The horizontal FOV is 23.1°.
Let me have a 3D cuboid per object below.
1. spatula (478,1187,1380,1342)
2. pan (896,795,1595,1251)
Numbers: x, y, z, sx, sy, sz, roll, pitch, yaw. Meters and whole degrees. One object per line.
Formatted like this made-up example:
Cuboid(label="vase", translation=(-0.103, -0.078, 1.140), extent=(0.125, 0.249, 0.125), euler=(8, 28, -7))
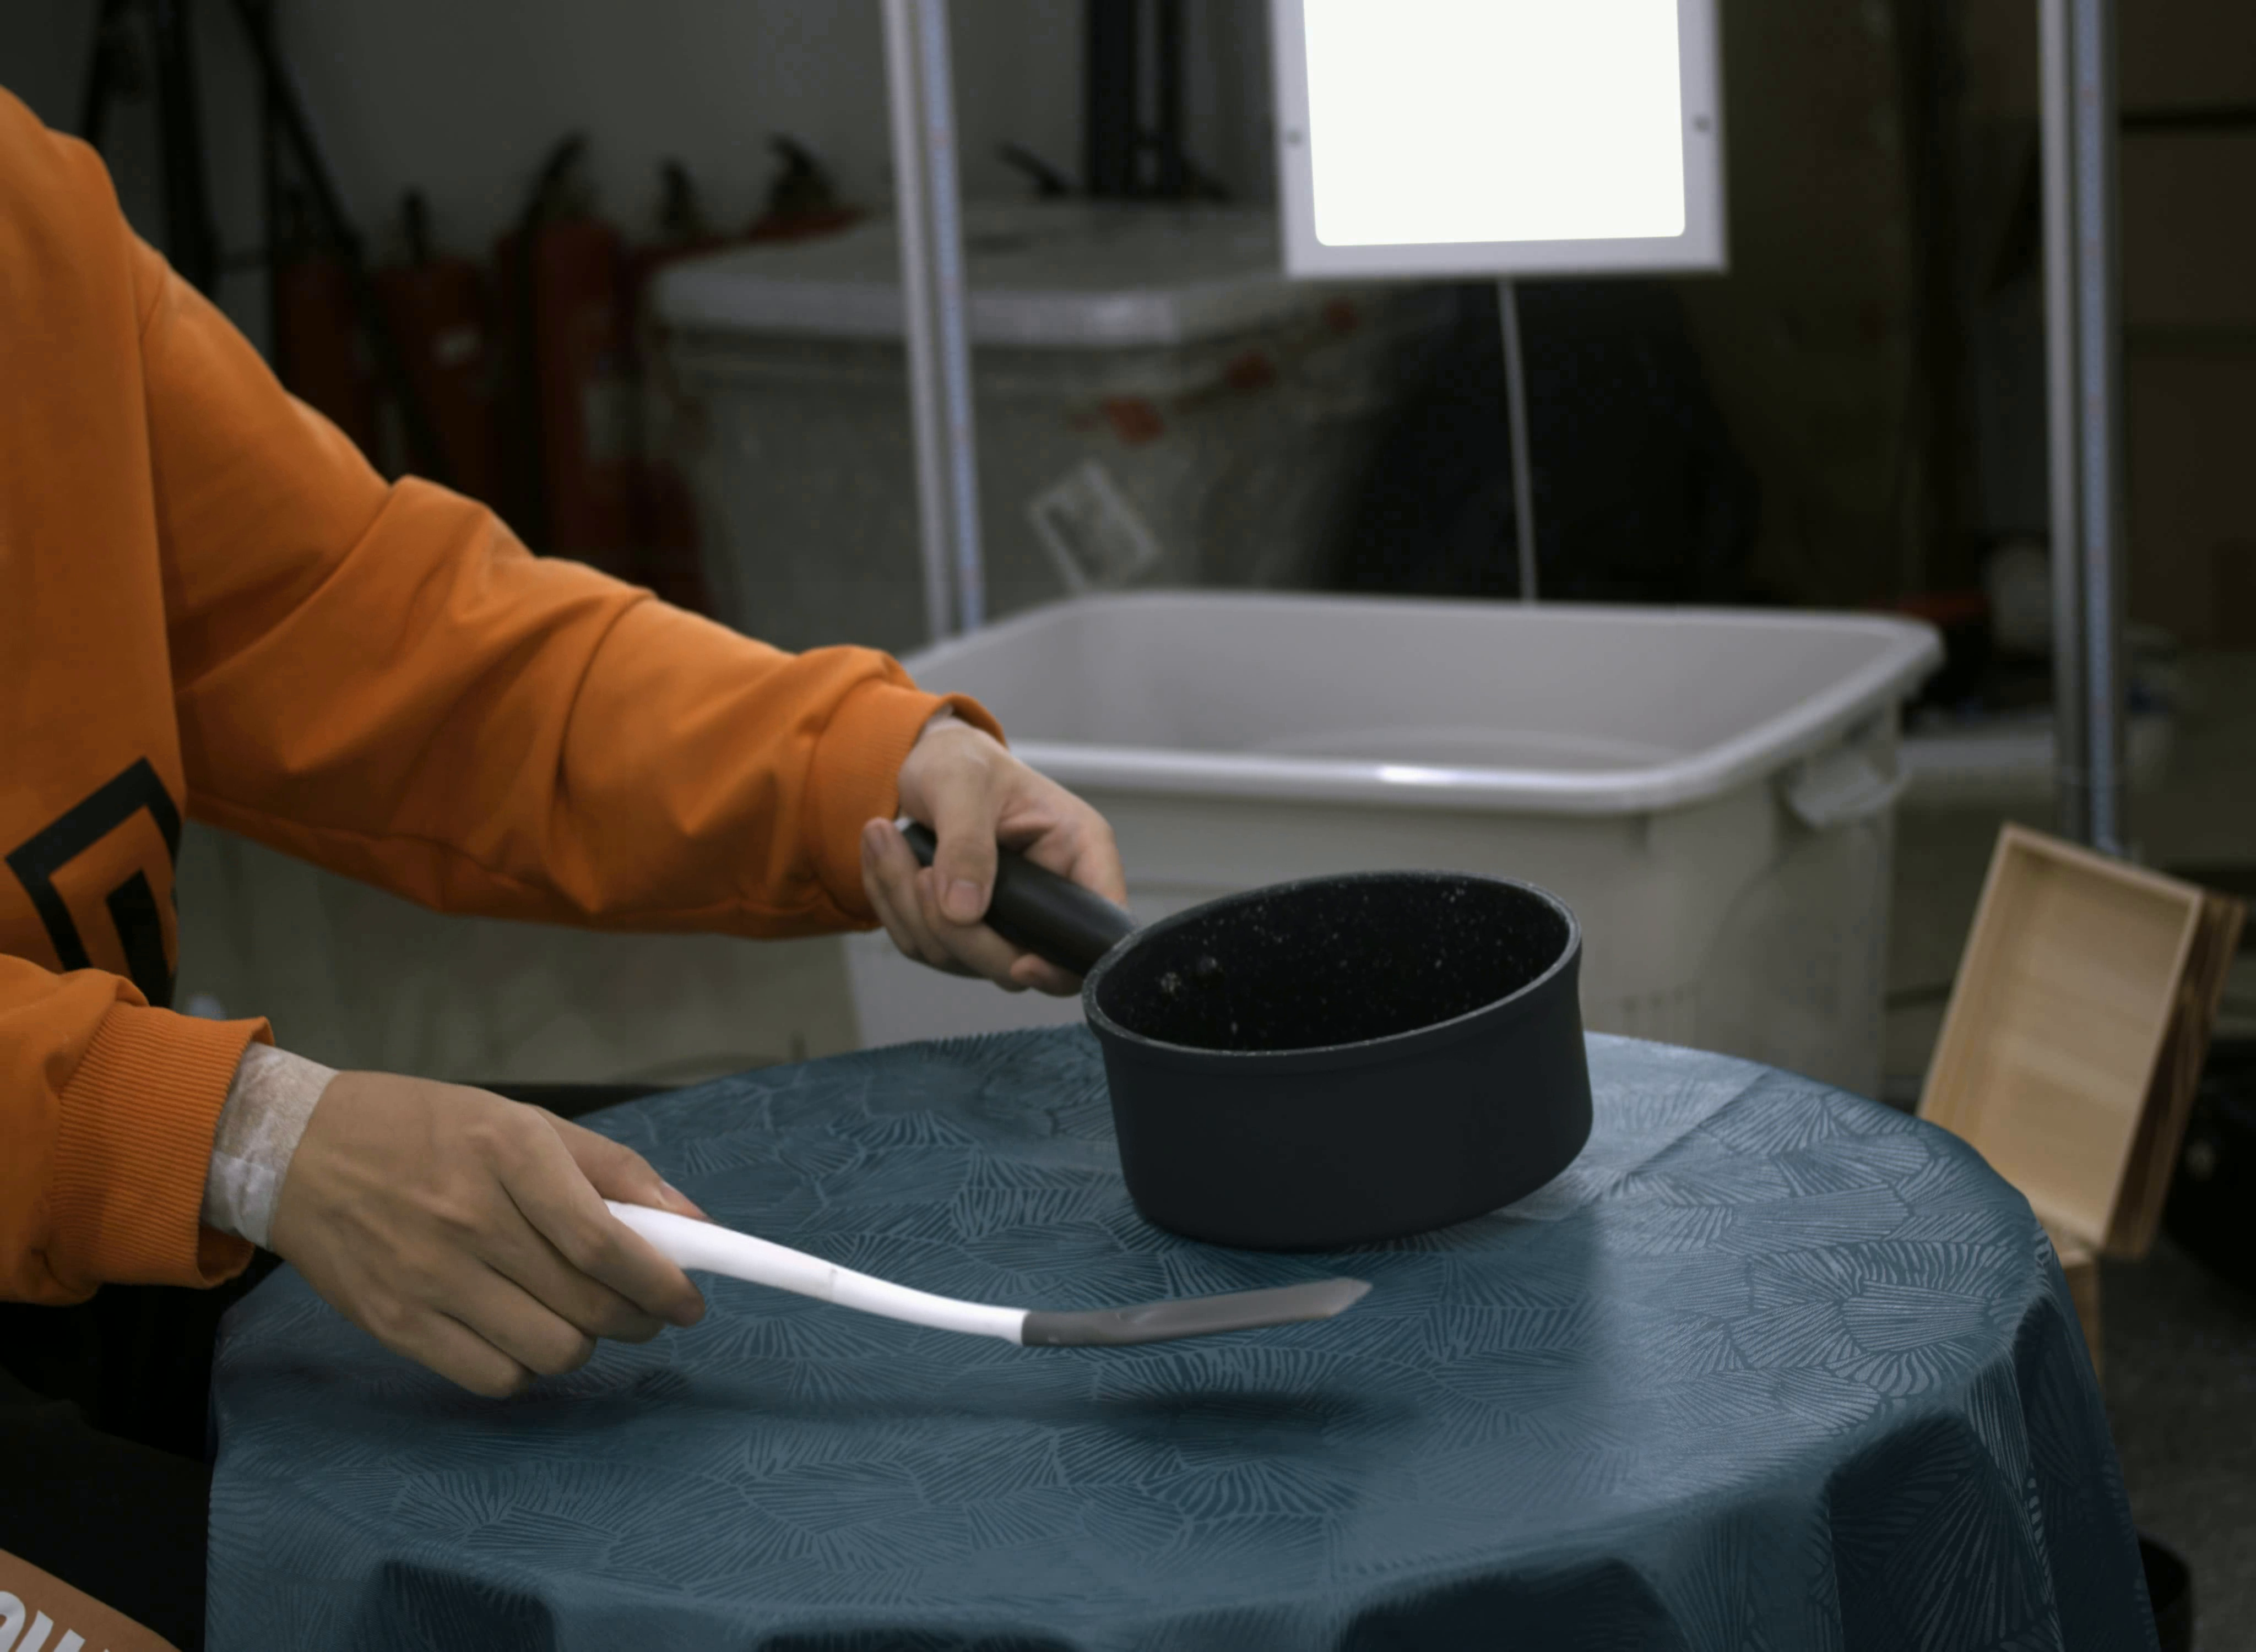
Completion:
Cuboid(label="spatula", translation=(-0.064, 0.139, 1.703), extent=(0.291, 0.032, 0.058), euler=(4, 4, 20))
Cuboid(label="pan", translation=(0.026, 0.062, 1.936), extent=(0.168, 0.087, 0.335), euler=(-21, 23, -32))
